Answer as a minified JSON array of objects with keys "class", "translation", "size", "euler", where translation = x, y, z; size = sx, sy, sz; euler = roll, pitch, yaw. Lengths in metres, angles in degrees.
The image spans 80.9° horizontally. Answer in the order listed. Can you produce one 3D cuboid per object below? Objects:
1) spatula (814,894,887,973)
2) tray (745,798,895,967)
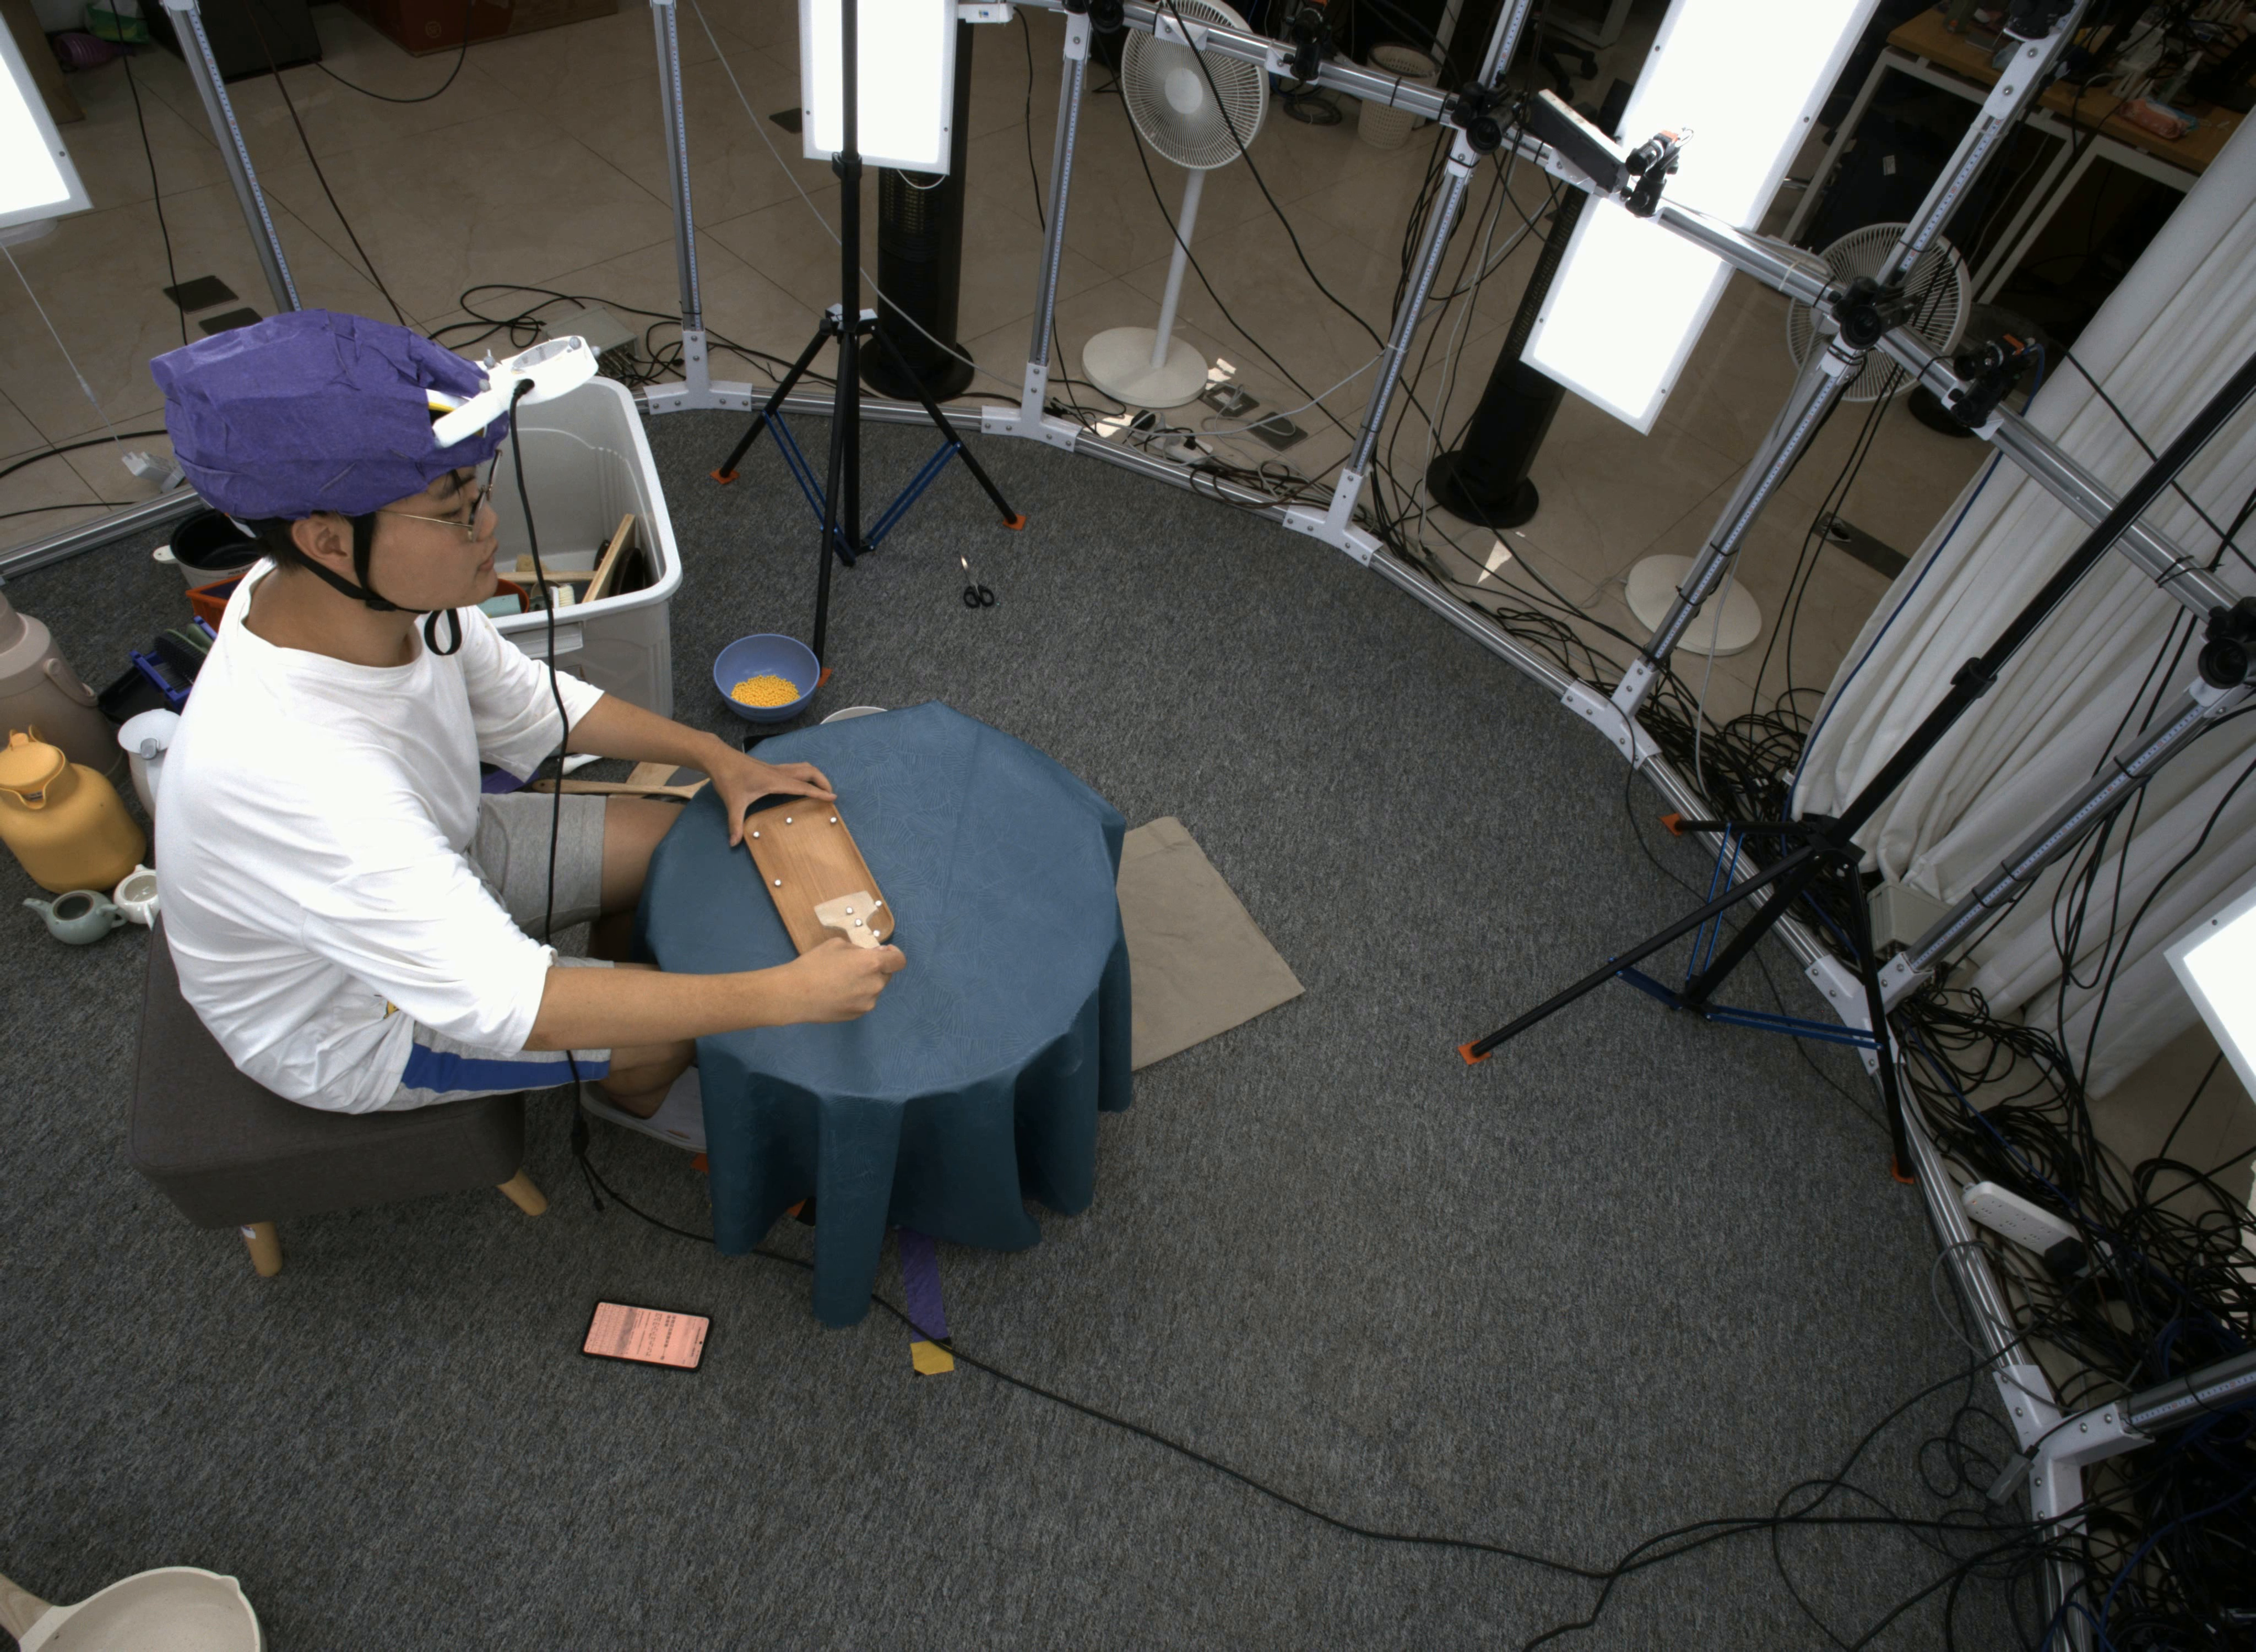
[{"class":"spatula","translation":[-0.310,0.122,1.491],"size":[0.072,0.011,0.285],"euler":[-17,16,-16]},{"class":"tray","translation":[-0.400,0.069,1.680],"size":[0.131,0.023,0.244],"euler":[-20,62,-22]}]
